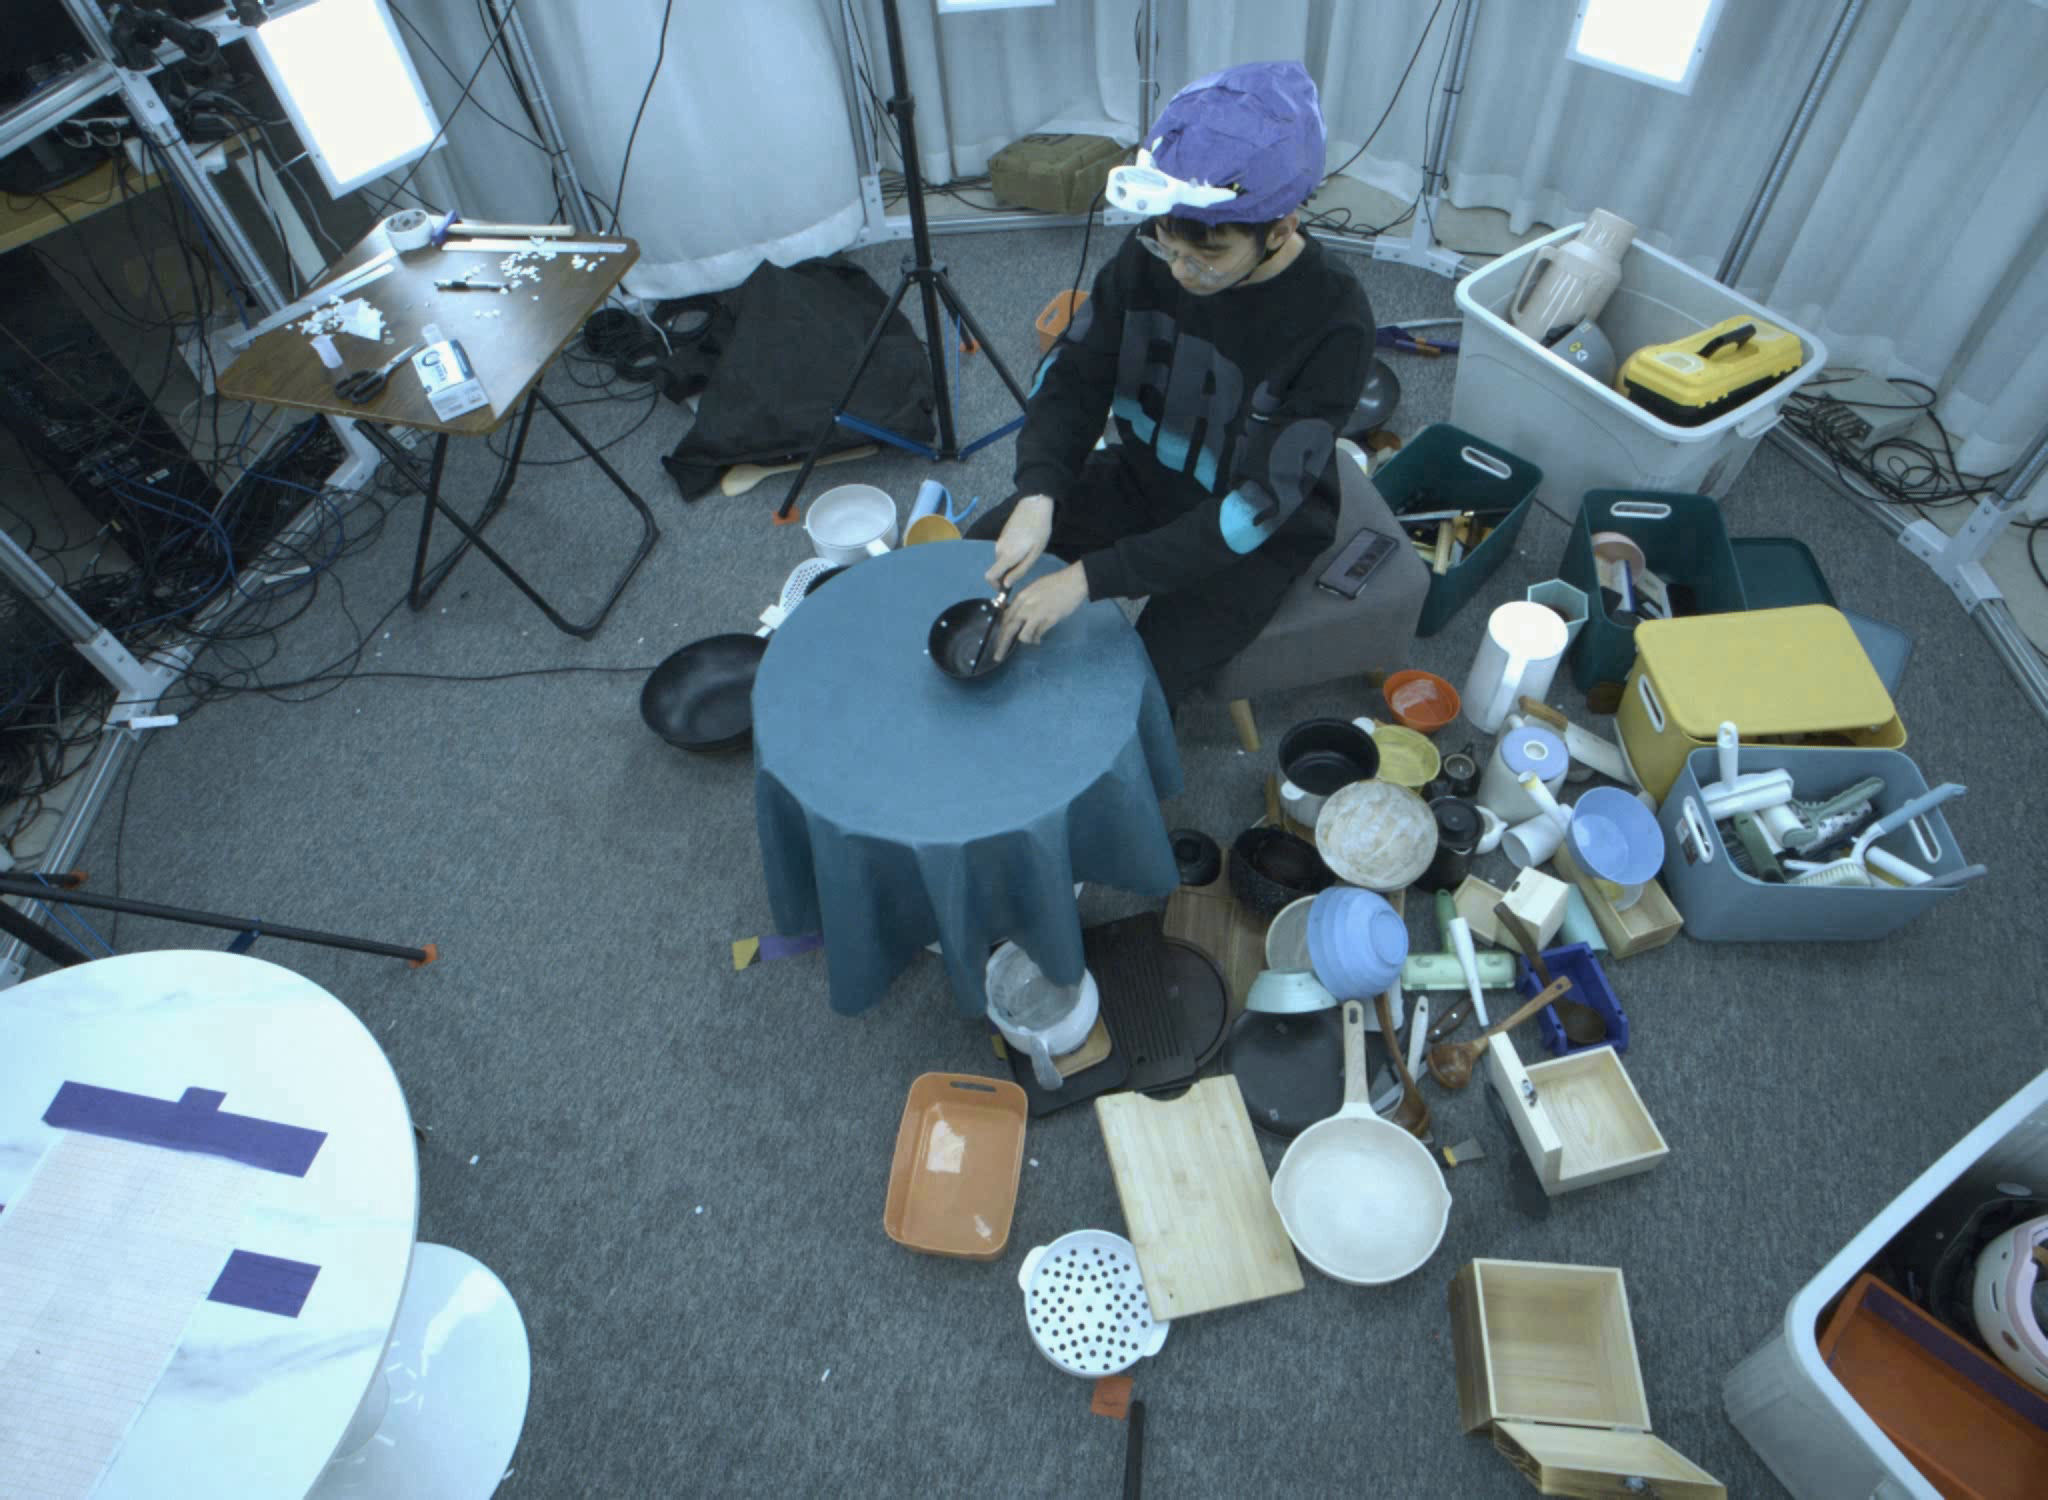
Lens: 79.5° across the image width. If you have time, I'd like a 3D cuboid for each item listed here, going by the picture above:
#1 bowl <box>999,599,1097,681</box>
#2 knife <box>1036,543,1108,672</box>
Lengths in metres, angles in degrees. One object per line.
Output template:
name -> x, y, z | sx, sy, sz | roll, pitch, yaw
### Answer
bowl -> 0.038, -0.158, 1.858 | 0.135, 0.067, 0.170 | 22, 57, 17
knife -> 0.070, -0.211, 1.838 | 0.017, 0.026, 0.225 | 25, 87, 22
